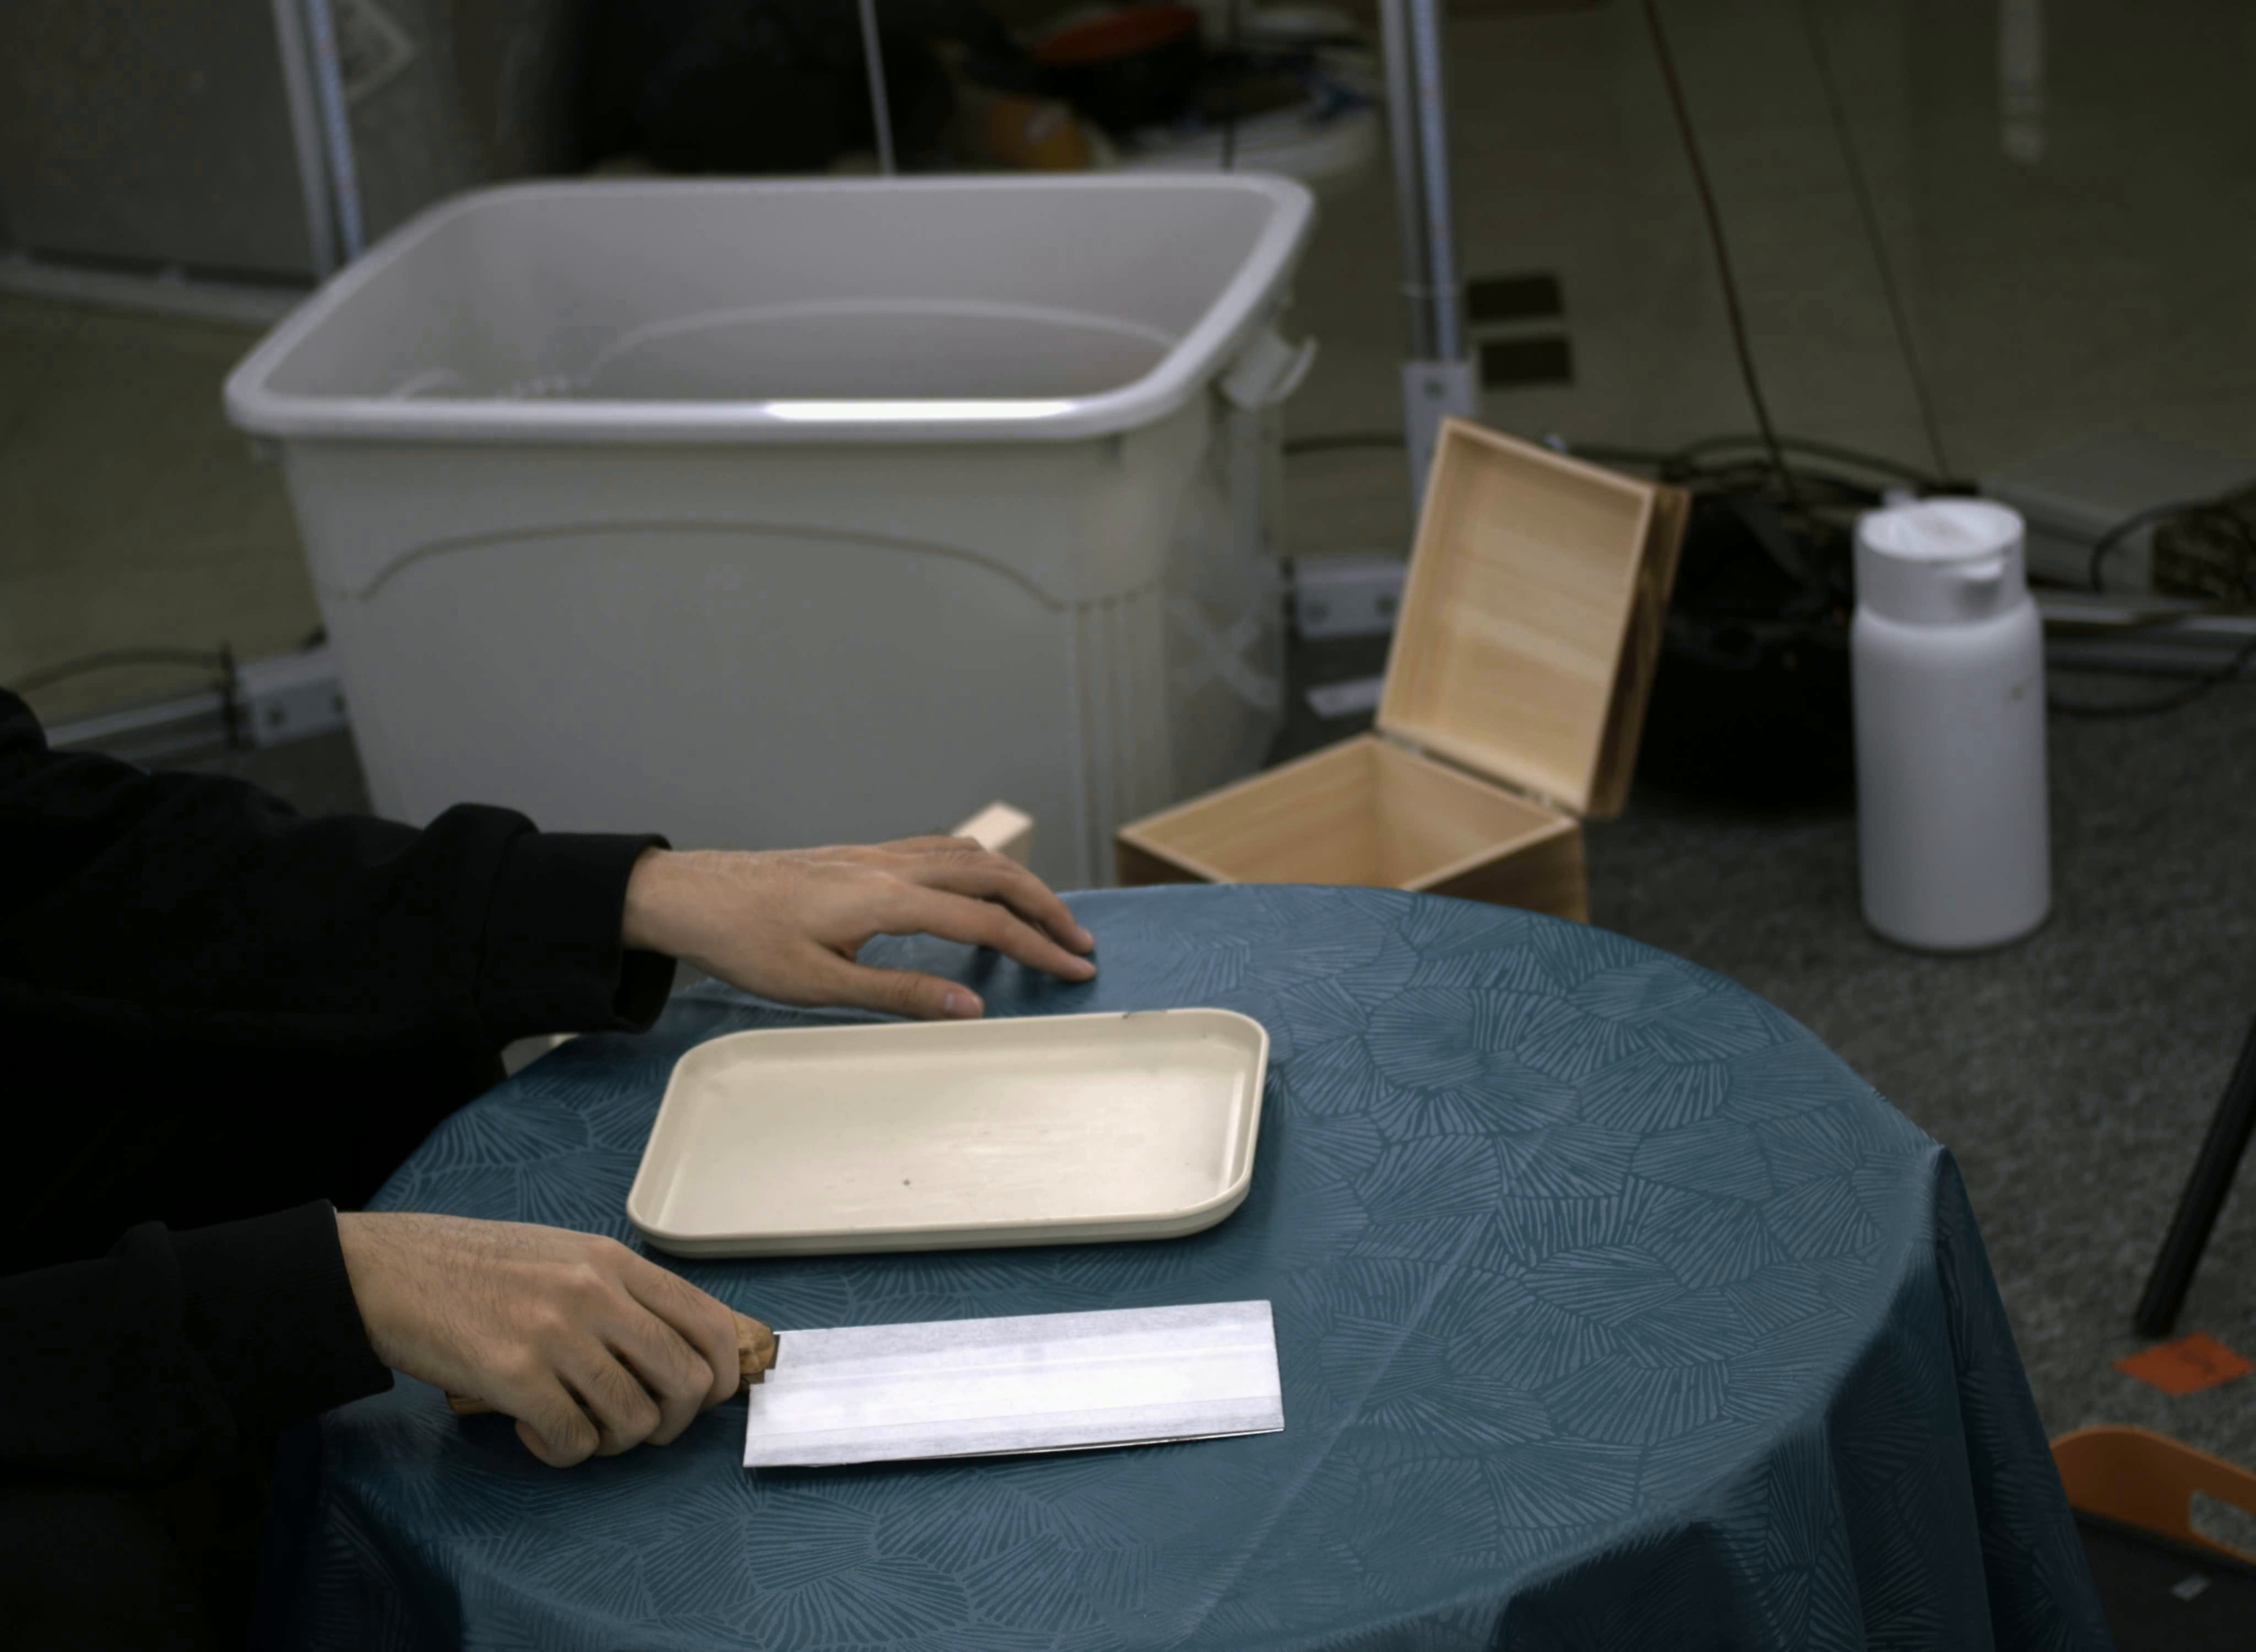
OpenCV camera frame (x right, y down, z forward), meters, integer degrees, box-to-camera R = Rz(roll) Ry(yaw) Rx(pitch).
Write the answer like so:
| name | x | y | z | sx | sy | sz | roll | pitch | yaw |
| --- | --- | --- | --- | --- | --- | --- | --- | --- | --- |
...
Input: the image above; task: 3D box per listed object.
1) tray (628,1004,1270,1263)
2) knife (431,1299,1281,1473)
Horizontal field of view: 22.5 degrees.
| name | x | y | z | sx | sy | sz | roll | pitch | yaw |
| --- | --- | --- | --- | --- | --- | --- | --- | --- | --- |
| tray | -0.066 | 0.119 | 2.183 | 0.239 | 0.018 | 0.168 | -3 | 26 | 7 |
| knife | -0.098 | 0.201 | 2.020 | 0.305 | 0.021 | 0.091 | -4 | 27 | 0 |
